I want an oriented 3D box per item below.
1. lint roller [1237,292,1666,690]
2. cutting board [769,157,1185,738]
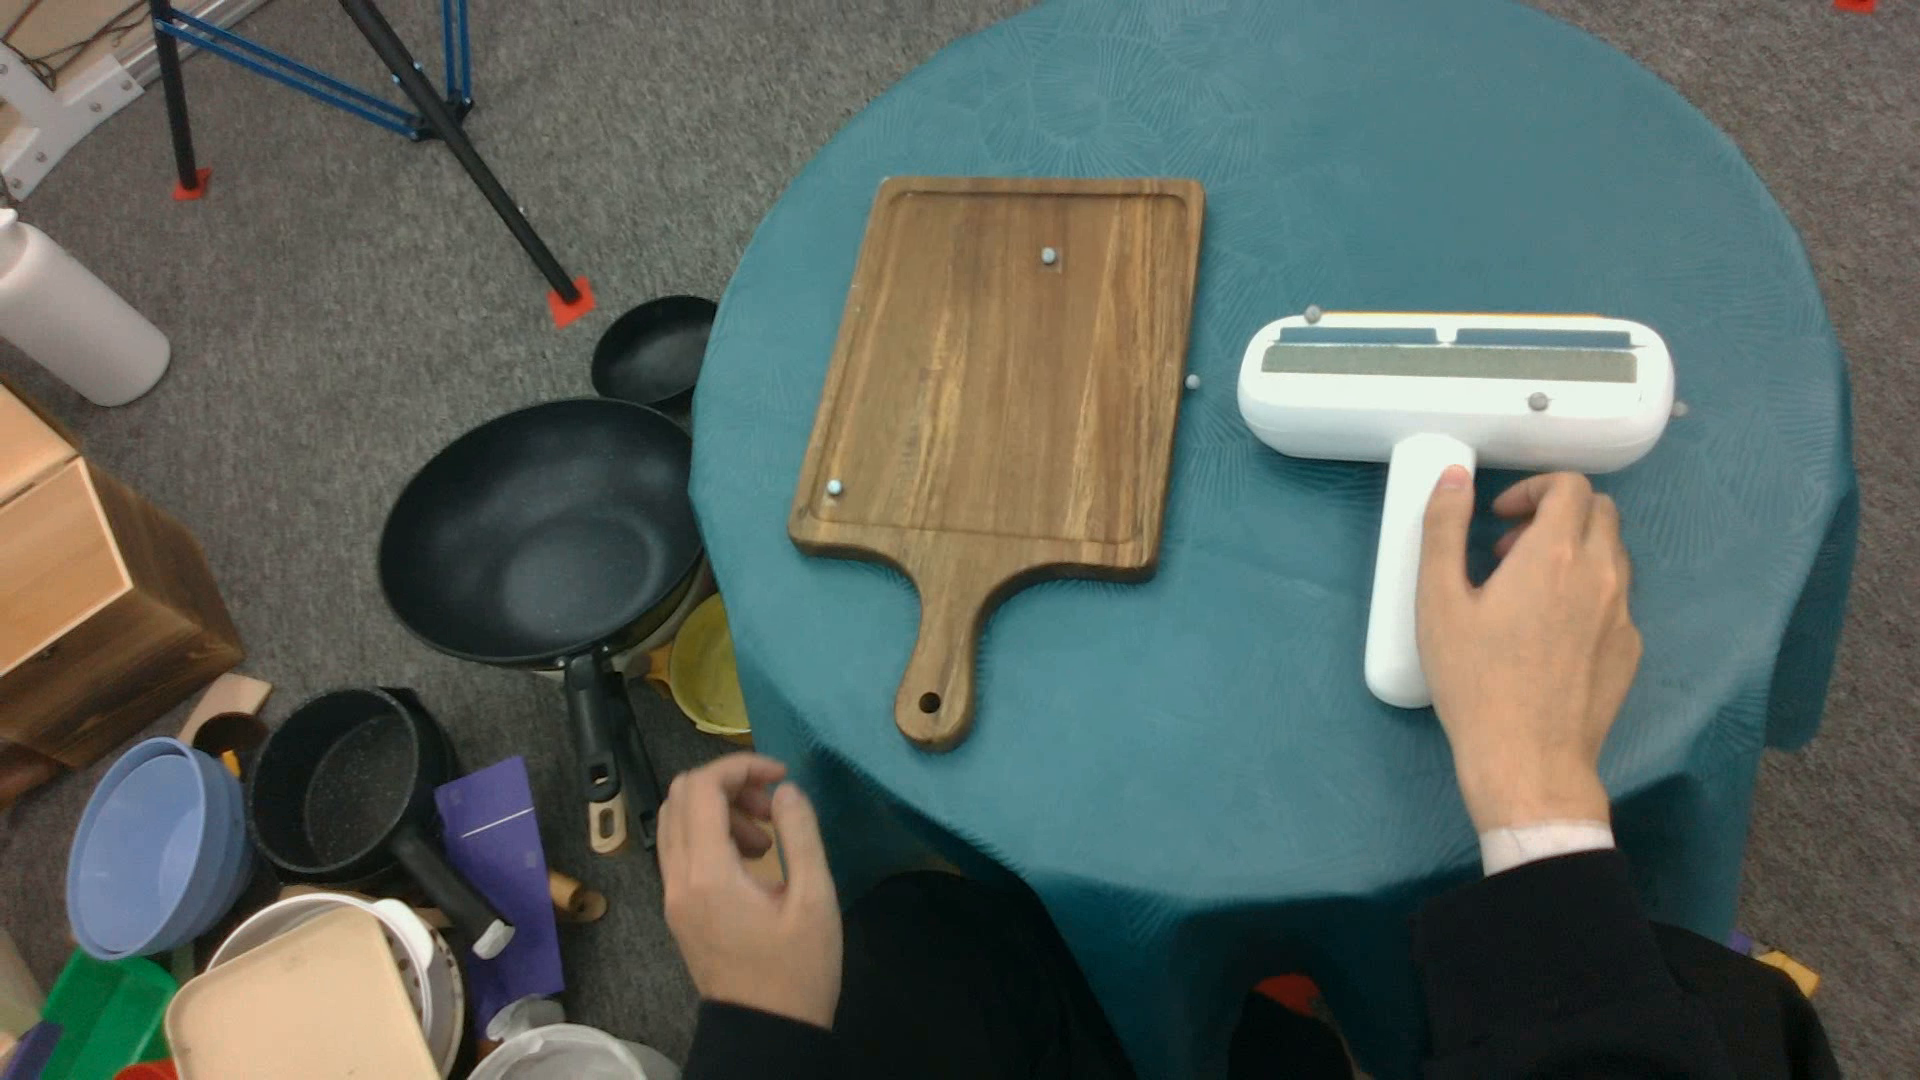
[{"bbox_3d":[0.212,-0.026,0.644,0.192,0.074,0.193,11,67,23],"label":"lint roller"},{"bbox_3d":[0.007,-0.065,0.733,0.201,0.023,0.353,4,63,13],"label":"cutting board"}]
